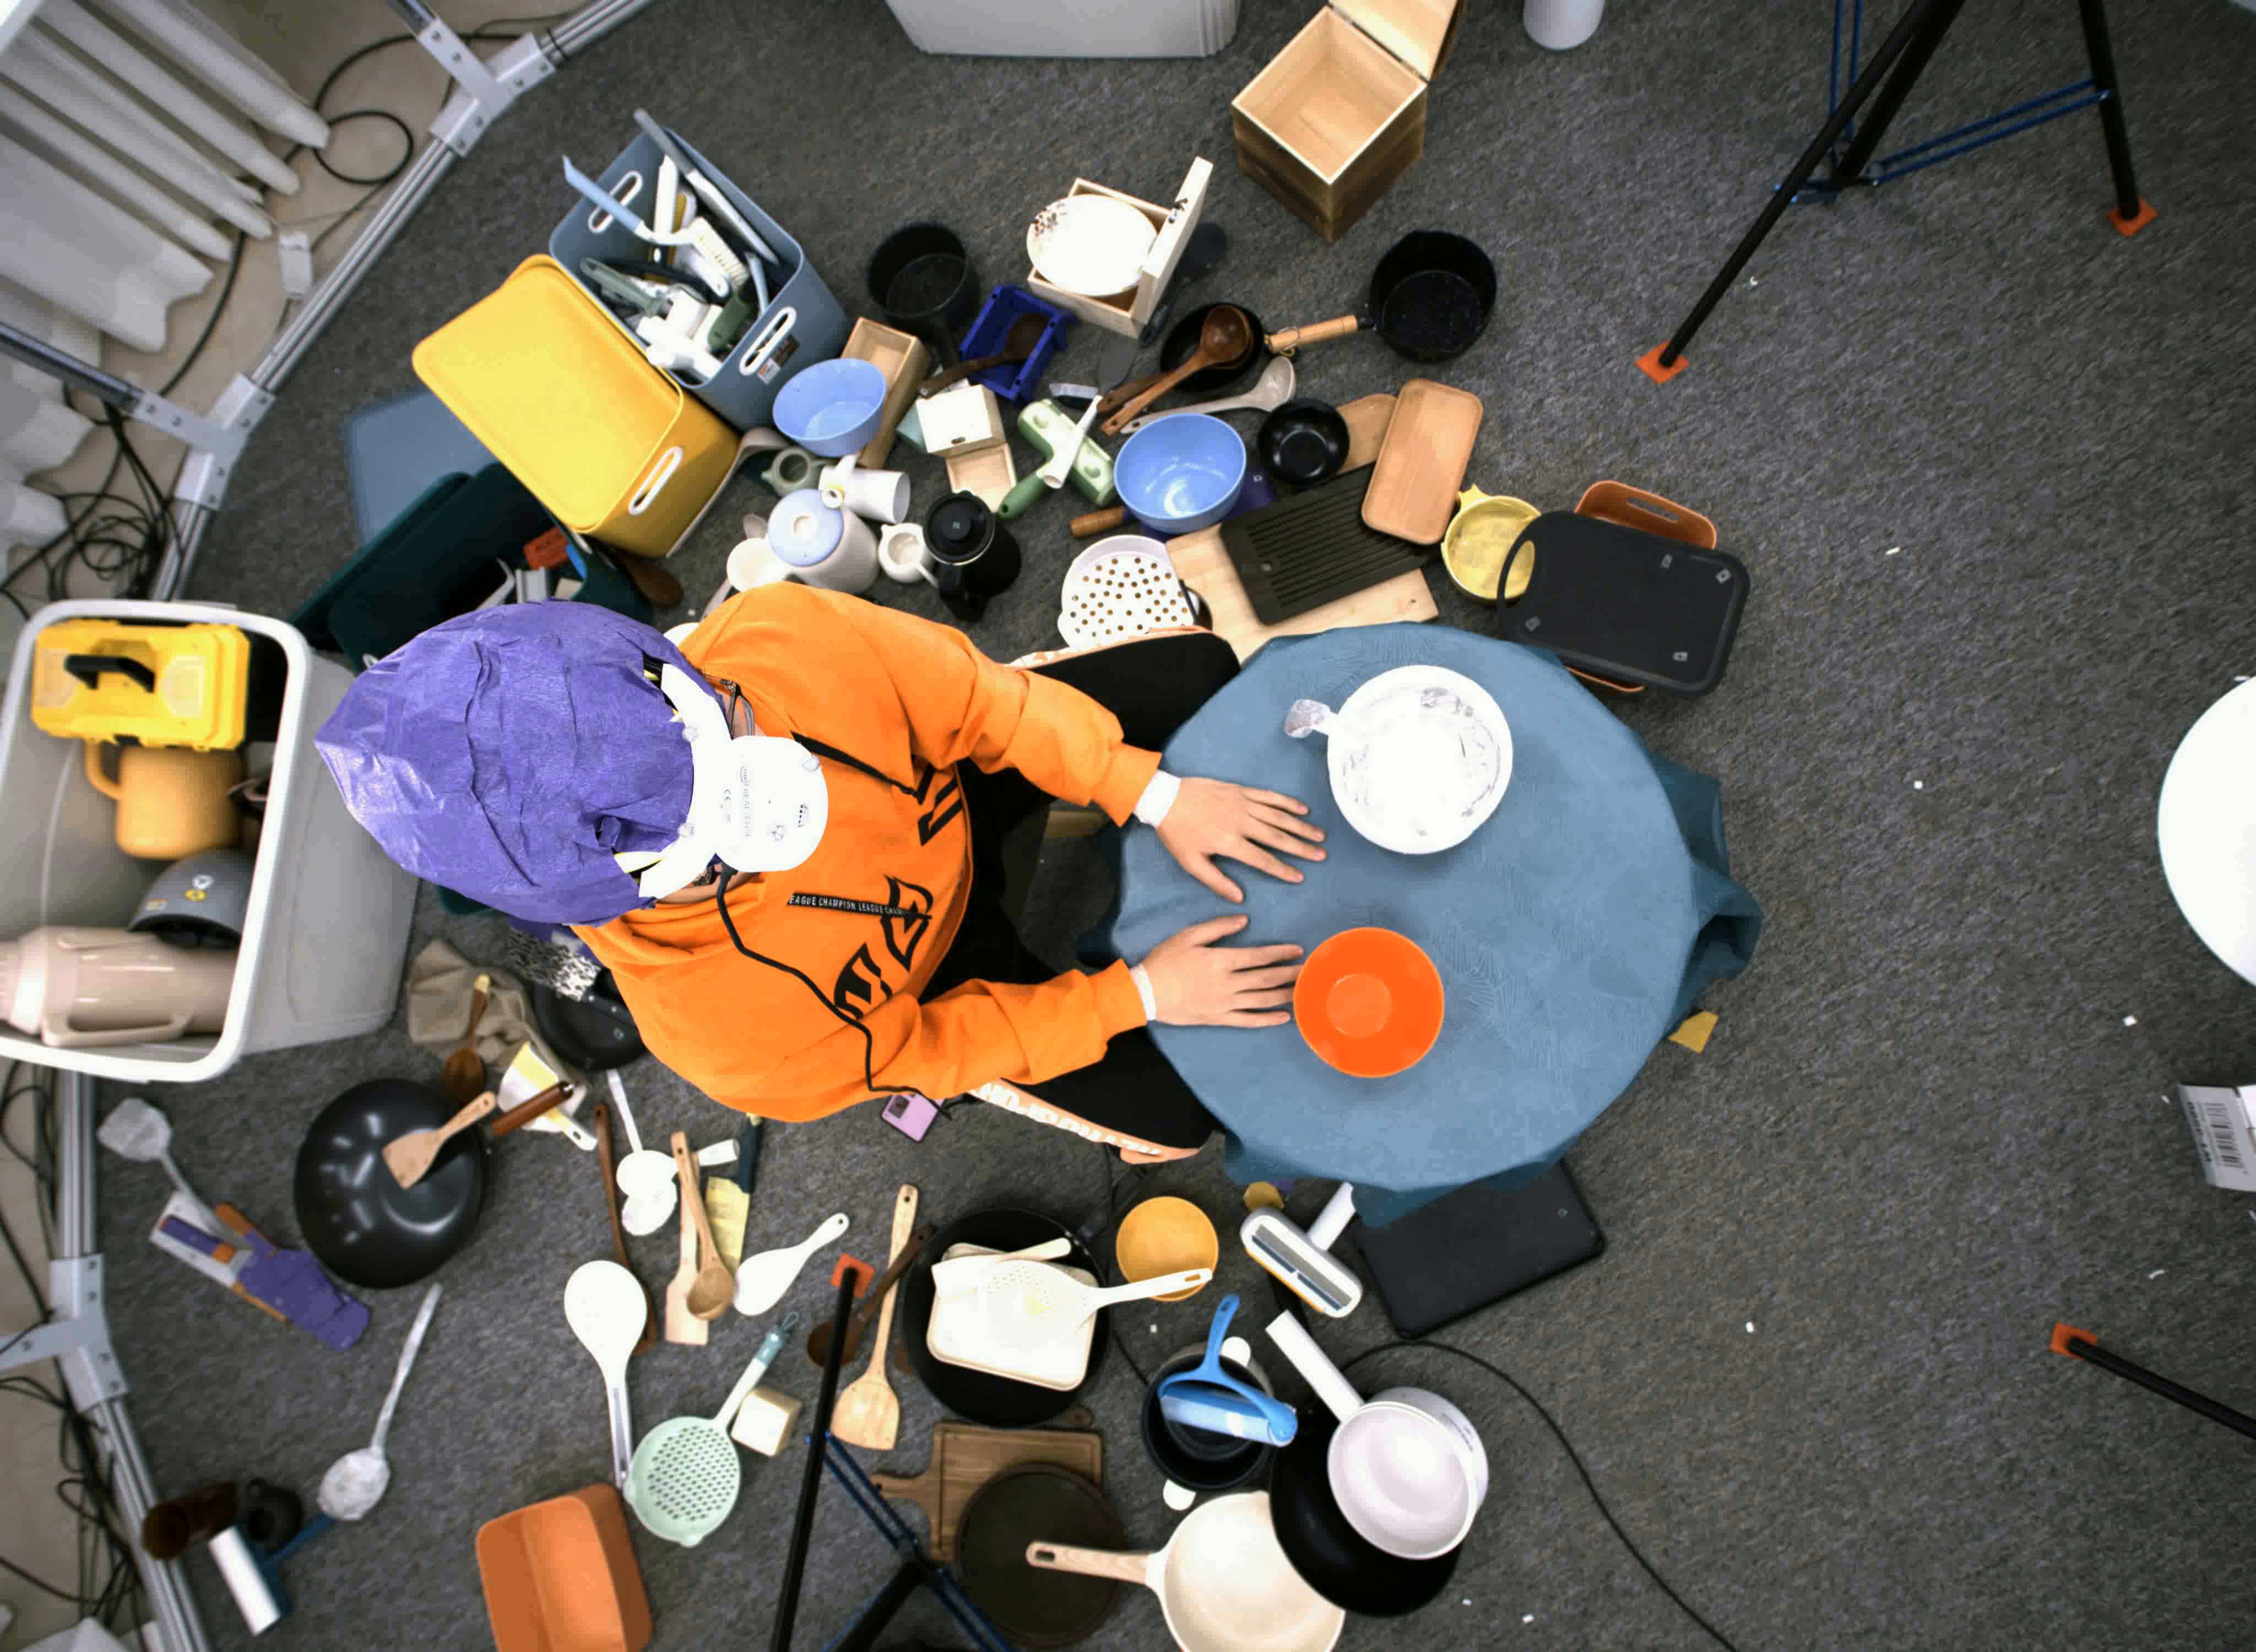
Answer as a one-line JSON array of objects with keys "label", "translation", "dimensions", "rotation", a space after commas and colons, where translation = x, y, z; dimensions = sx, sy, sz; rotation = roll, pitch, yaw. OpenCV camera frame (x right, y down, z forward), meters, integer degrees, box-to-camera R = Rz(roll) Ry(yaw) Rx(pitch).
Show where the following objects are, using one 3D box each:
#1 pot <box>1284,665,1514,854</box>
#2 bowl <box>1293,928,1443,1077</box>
[{"label": "pot", "translation": [0.268, -0.074, 1.399], "dimensions": [0.233, 0.137, 0.178], "rotation": [22, 89, 11]}, {"label": "bowl", "translation": [0.245, 0.178, 1.410], "dimensions": [0.148, 0.104, 0.147], "rotation": [-1, 86, 12]}]
